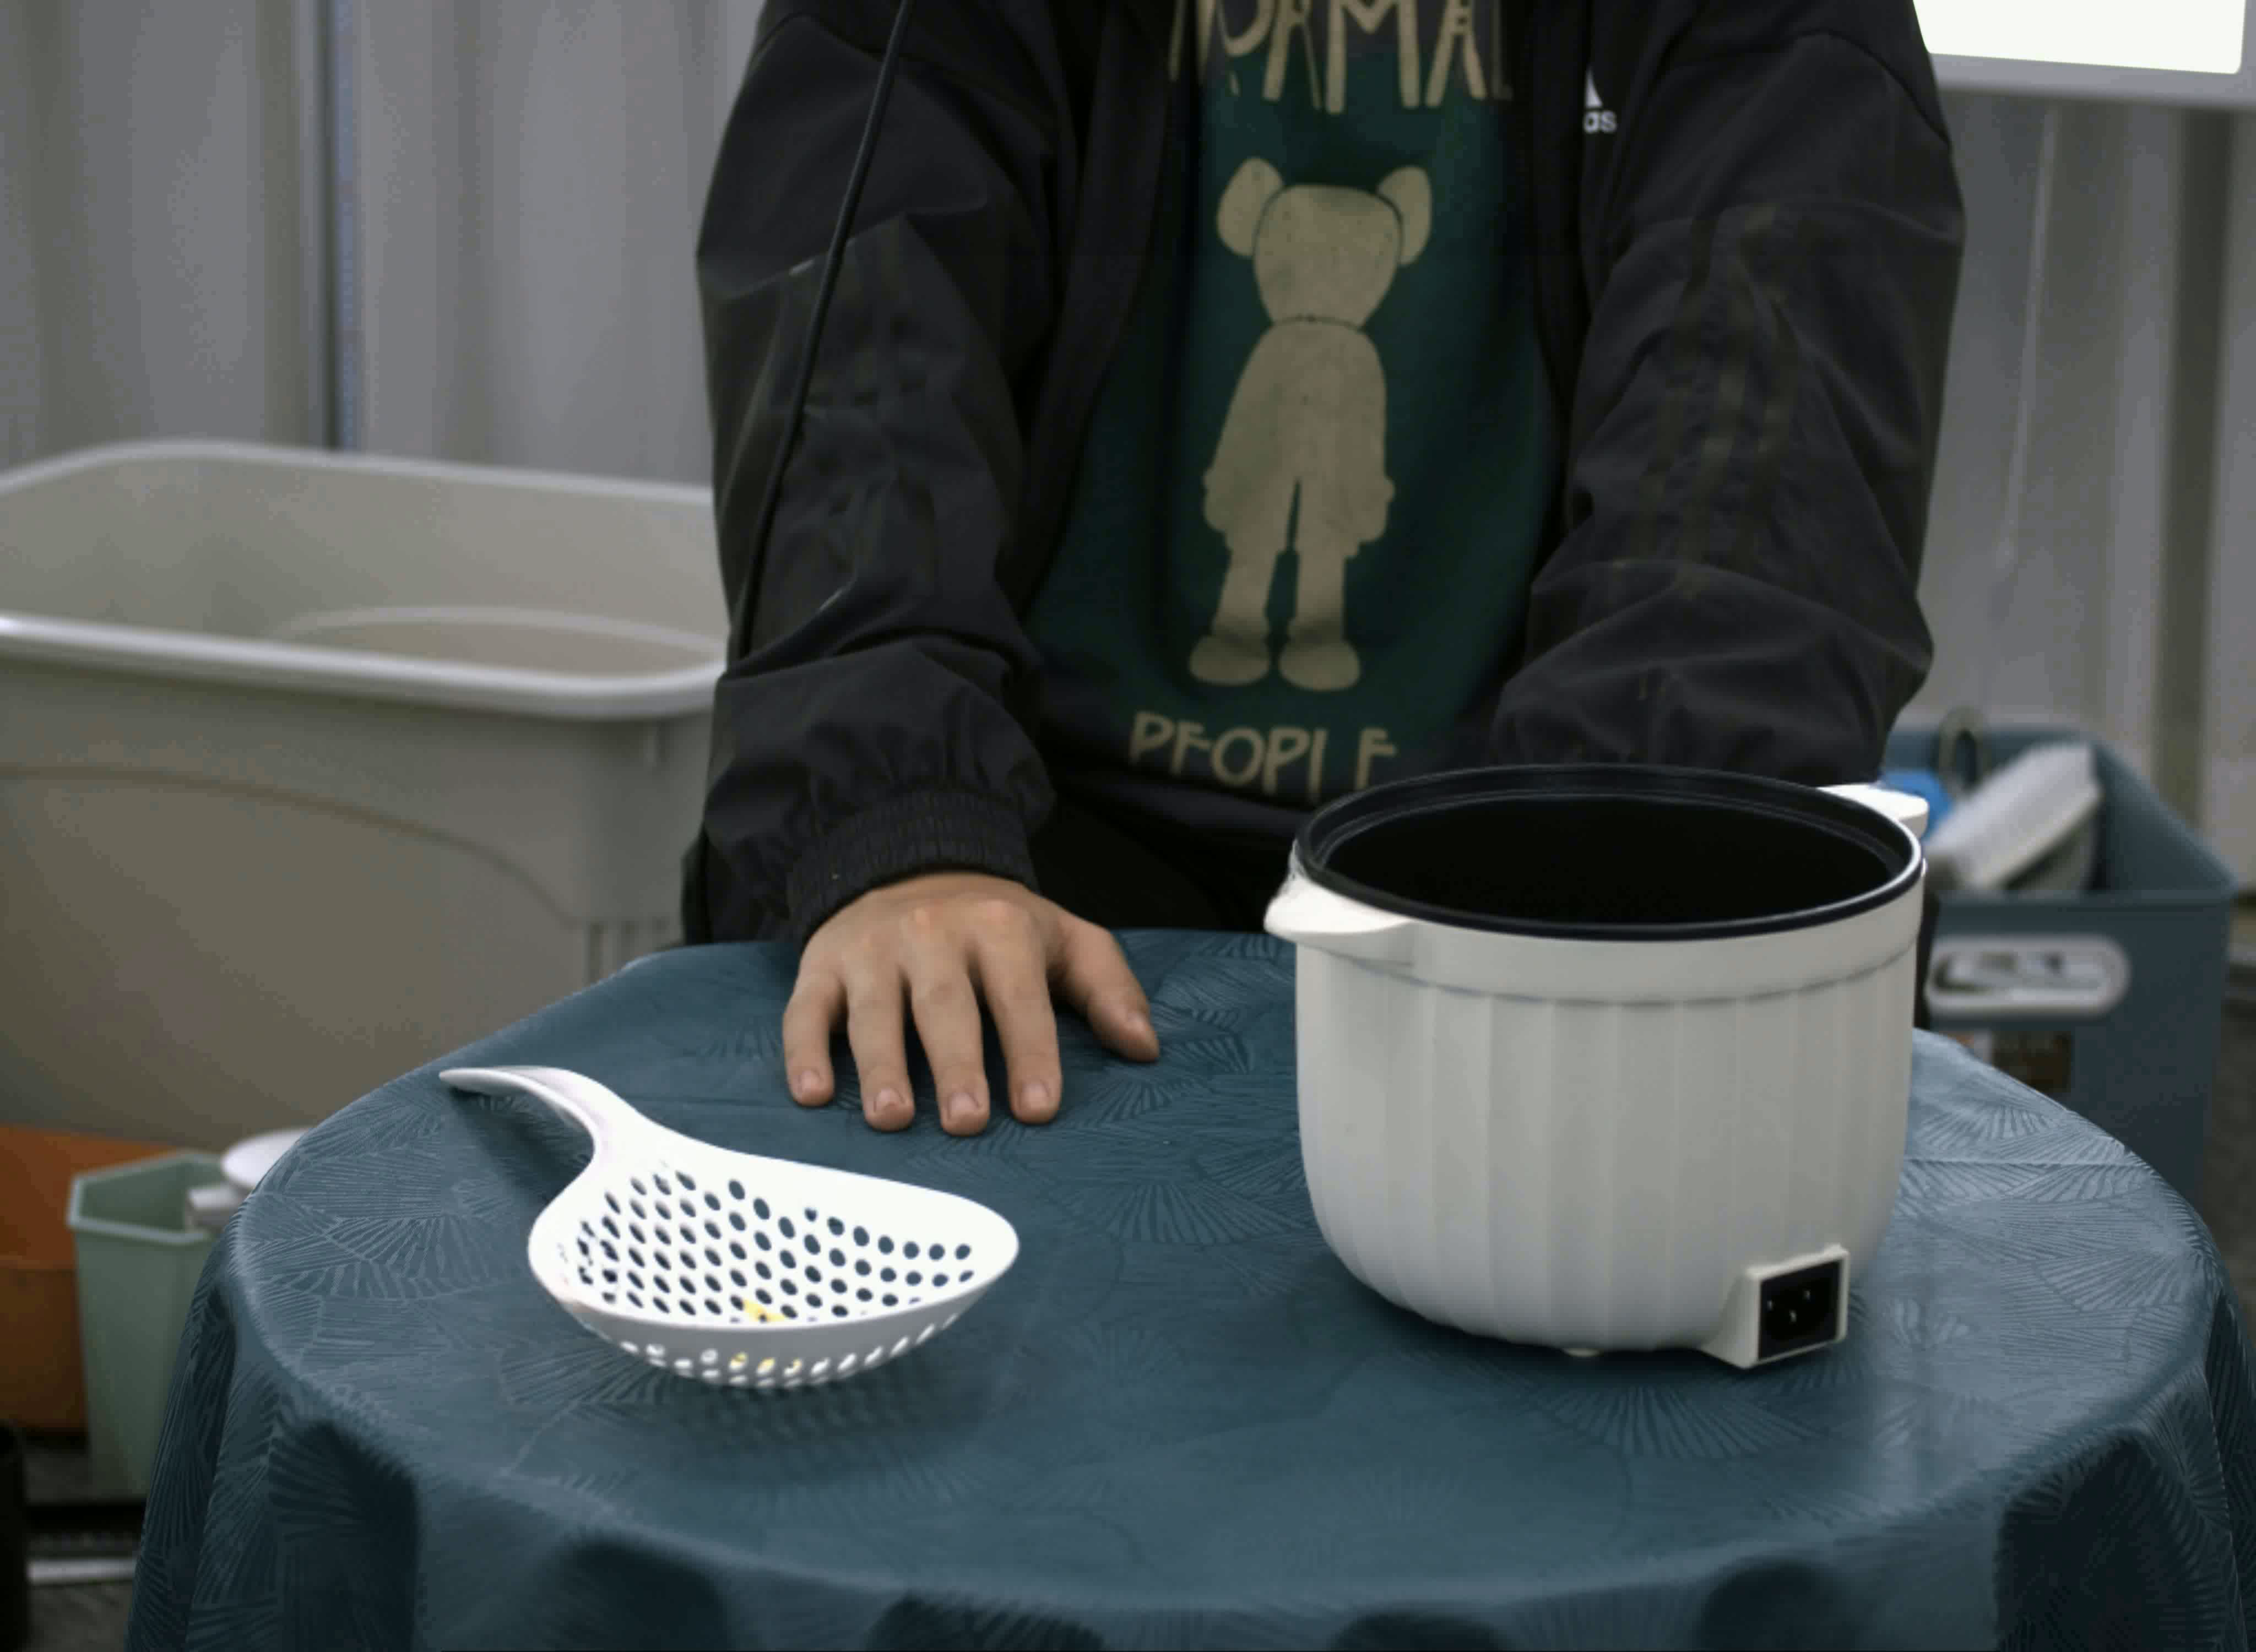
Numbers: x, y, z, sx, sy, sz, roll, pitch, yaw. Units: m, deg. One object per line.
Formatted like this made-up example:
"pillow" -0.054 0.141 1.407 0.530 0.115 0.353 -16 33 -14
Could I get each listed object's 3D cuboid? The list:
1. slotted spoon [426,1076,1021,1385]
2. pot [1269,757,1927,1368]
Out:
"slotted spoon" -0.144 0.105 1.563 0.137 0.051 0.343 -8 18 -24
"pot" 0.133 0.067 1.534 0.241 0.144 0.188 -9 21 -36
